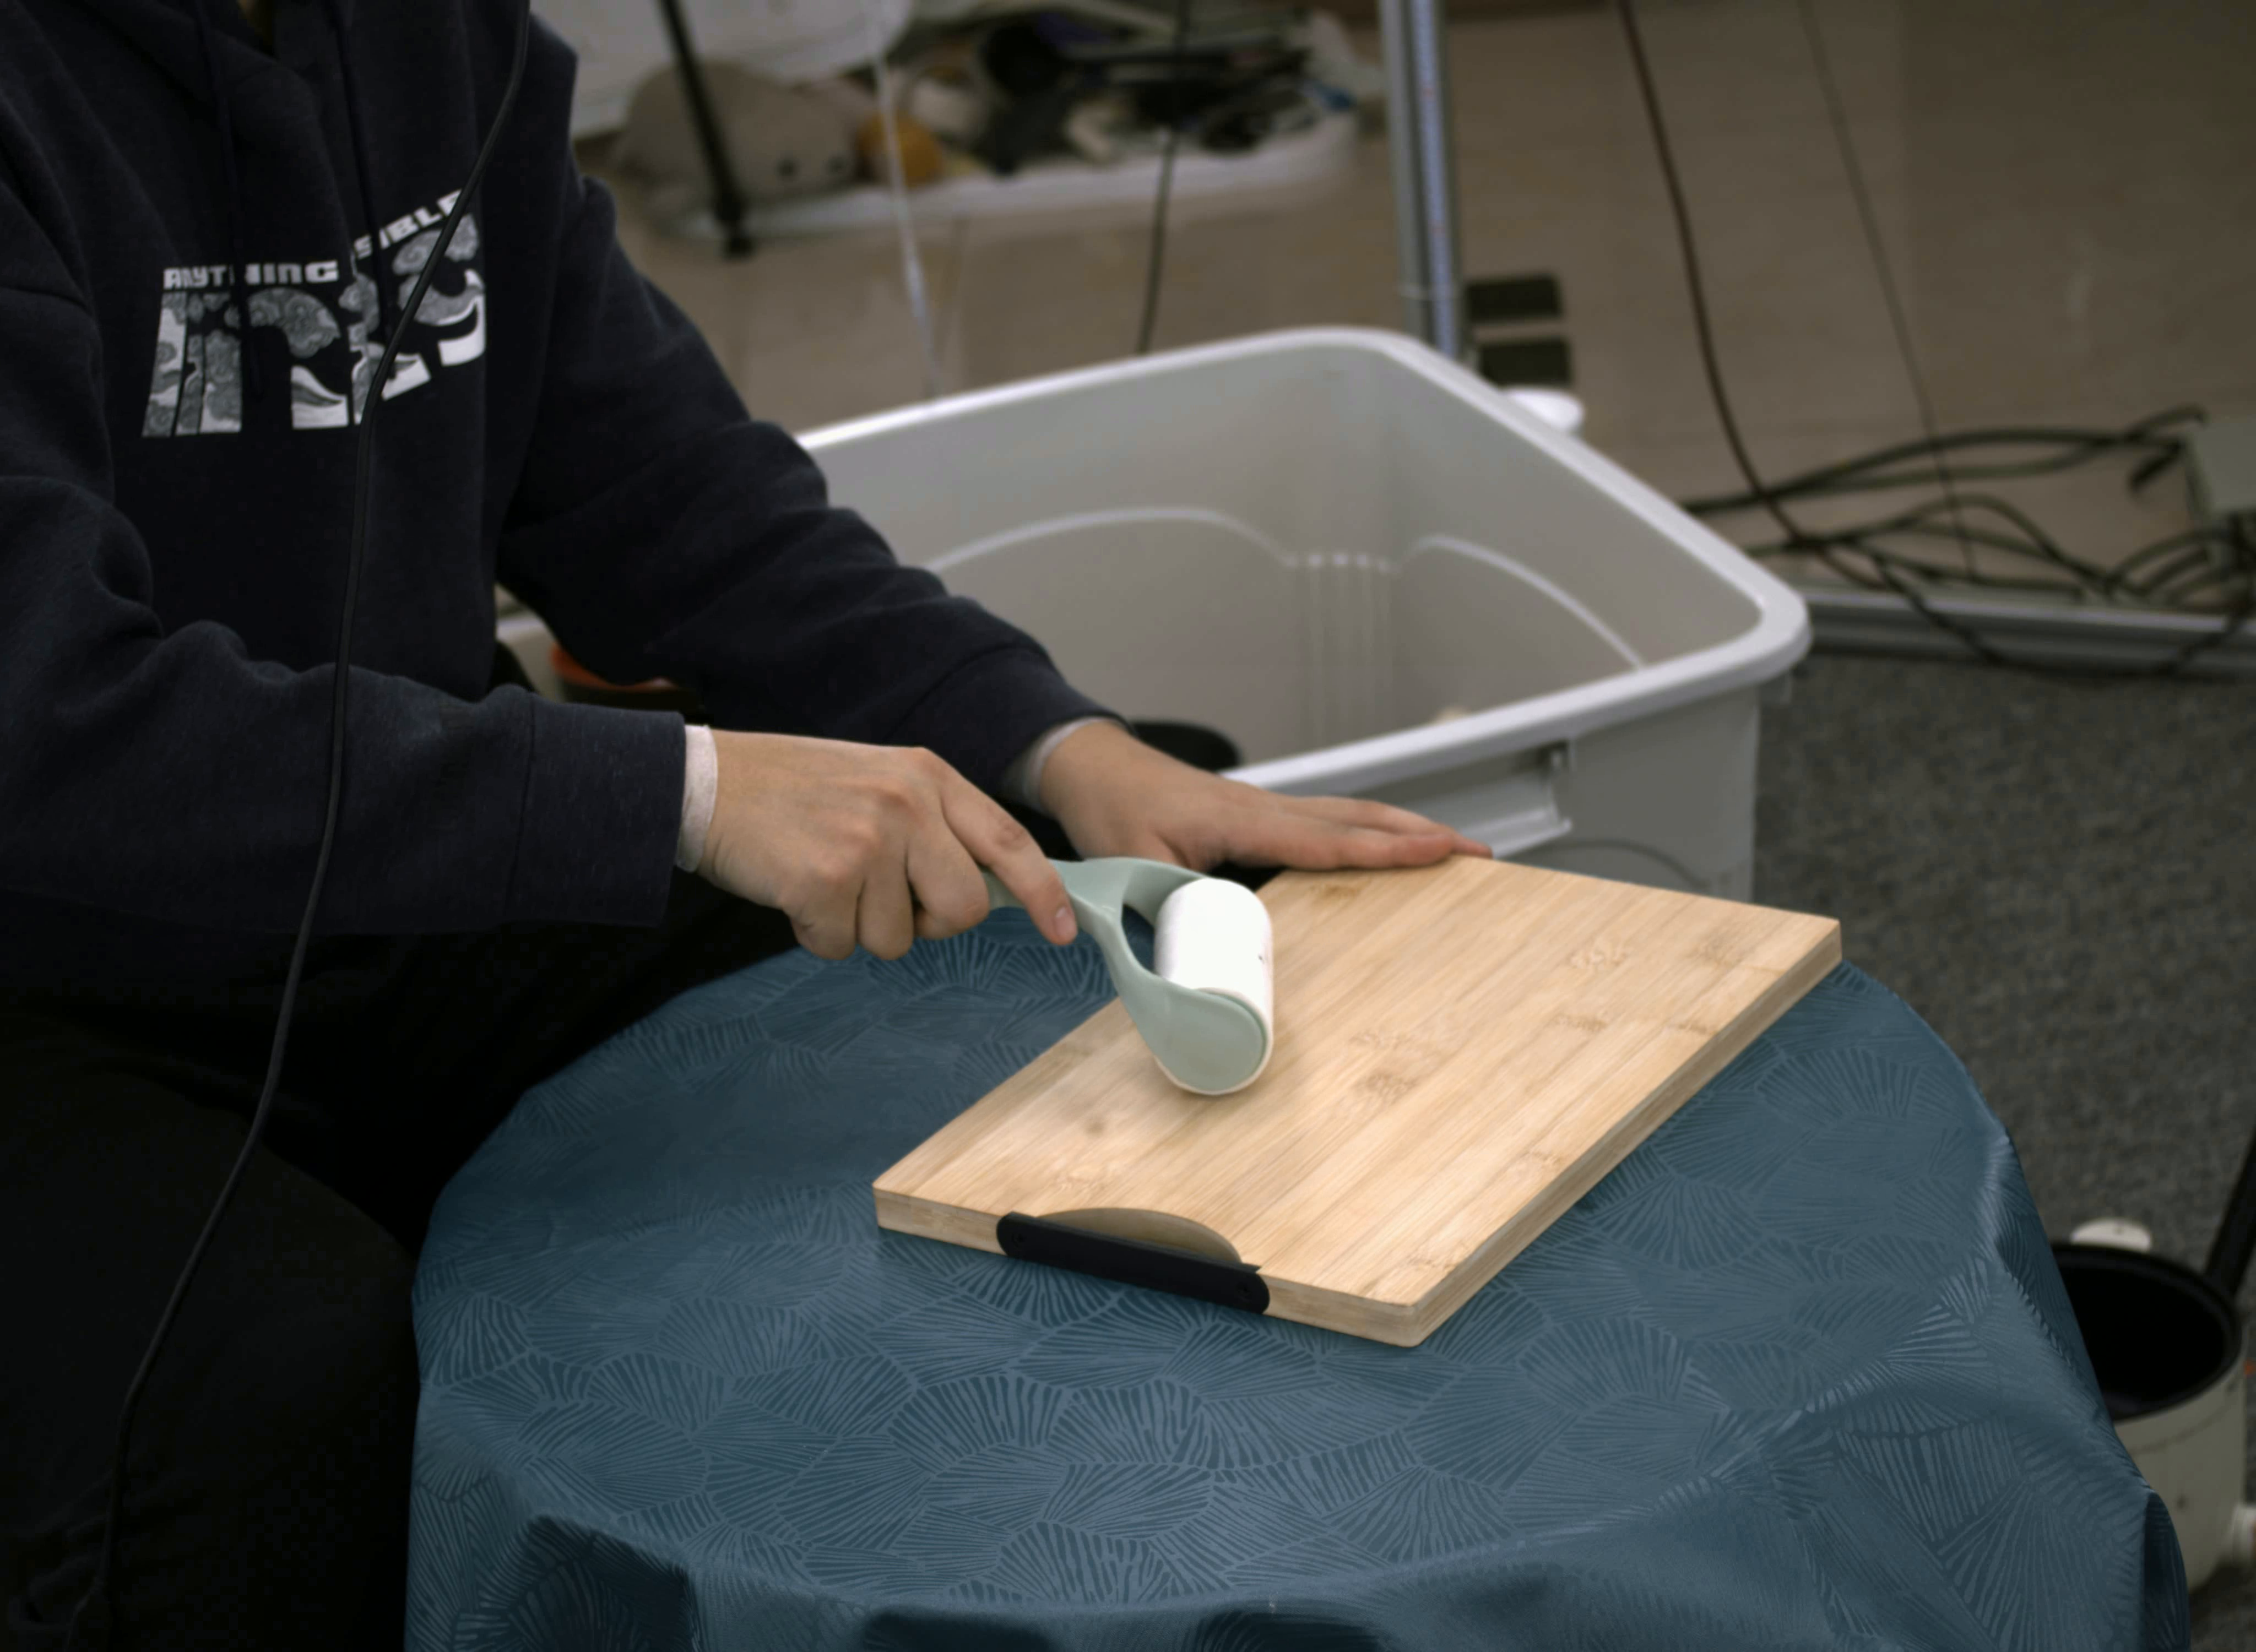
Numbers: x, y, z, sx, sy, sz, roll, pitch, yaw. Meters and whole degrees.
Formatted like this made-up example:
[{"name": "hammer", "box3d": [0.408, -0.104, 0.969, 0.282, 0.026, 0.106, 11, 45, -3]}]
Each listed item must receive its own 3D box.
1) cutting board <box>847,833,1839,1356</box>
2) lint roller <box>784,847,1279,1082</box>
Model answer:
[{"name": "cutting board", "box3d": [0.090, 0.097, 2.199, 0.249, 0.024, 0.345, 10, 29, 32]}, {"name": "lint roller", "box3d": [-0.035, 0.035, 2.206, 0.197, 0.049, 0.115, 19, 26, -8]}]
